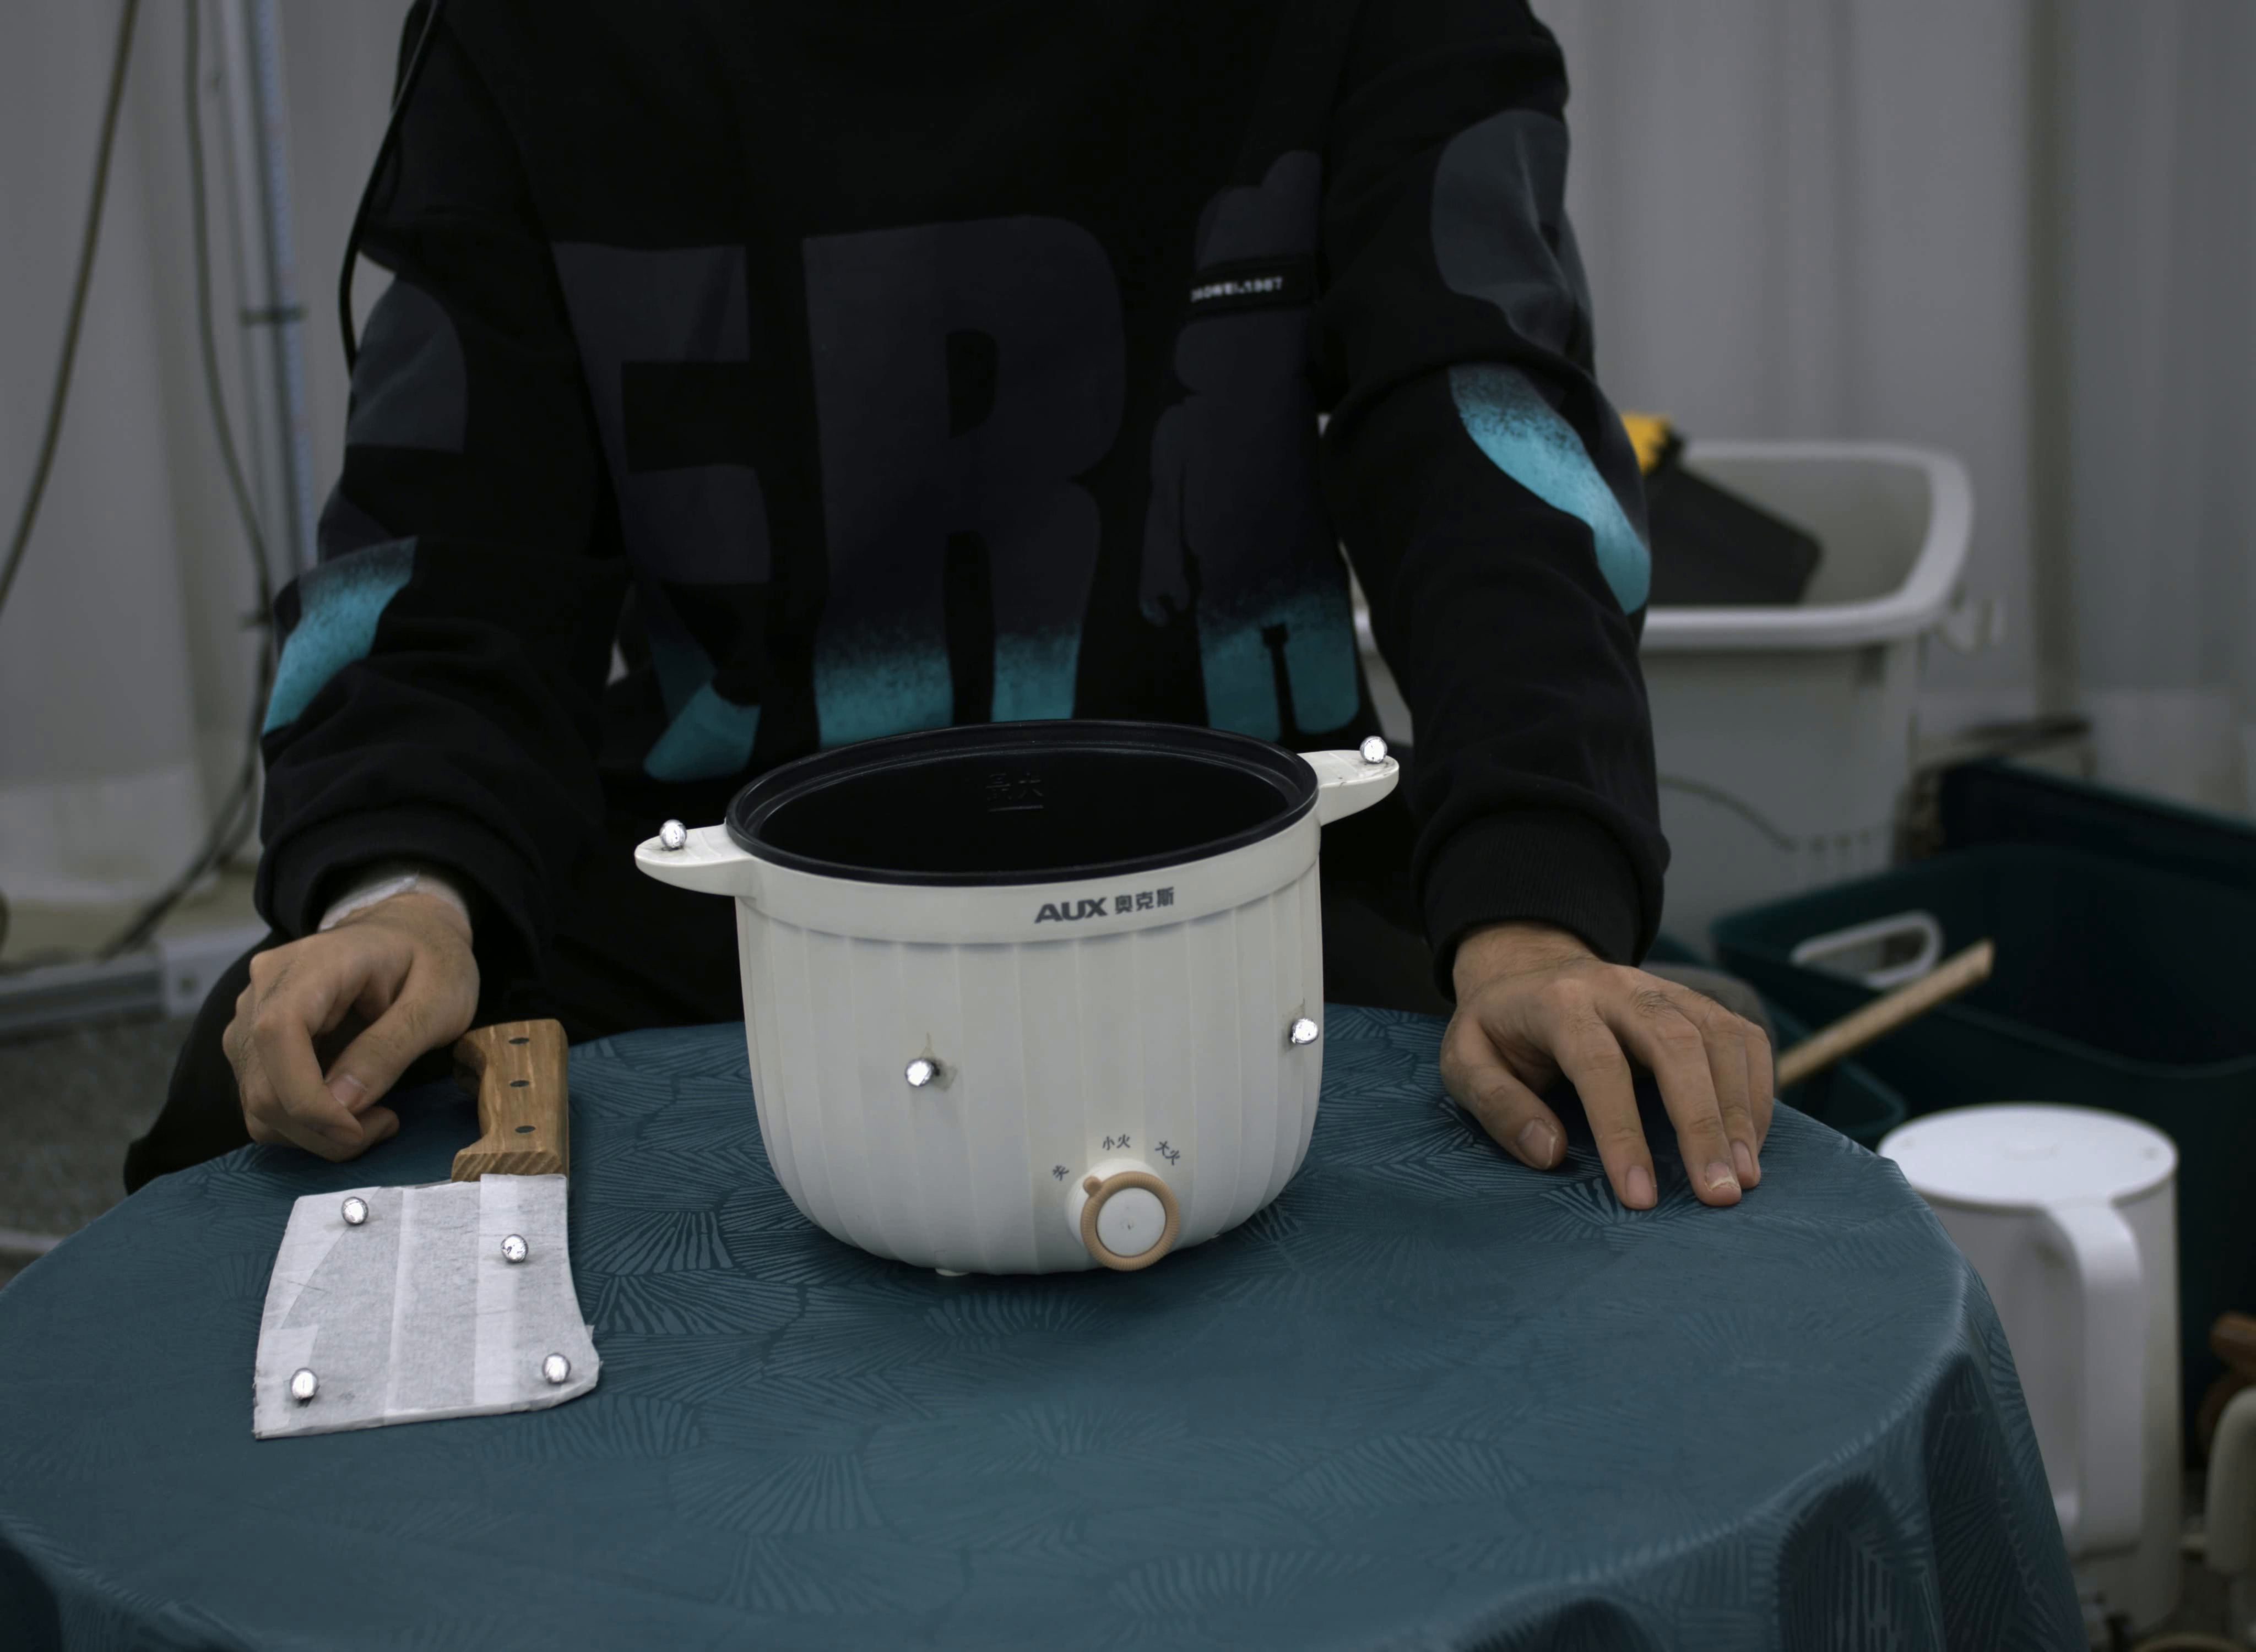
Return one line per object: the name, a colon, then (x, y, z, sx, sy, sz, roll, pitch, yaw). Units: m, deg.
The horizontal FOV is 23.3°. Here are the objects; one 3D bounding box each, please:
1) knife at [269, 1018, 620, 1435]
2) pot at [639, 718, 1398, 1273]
knife: (-0.207, 0.122, 1.694, 0.113, 0.021, 0.318, -4, 18, -1)
pot: (-0.026, 0.055, 1.678, 0.239, 0.142, 0.192, -8, 12, -15)
